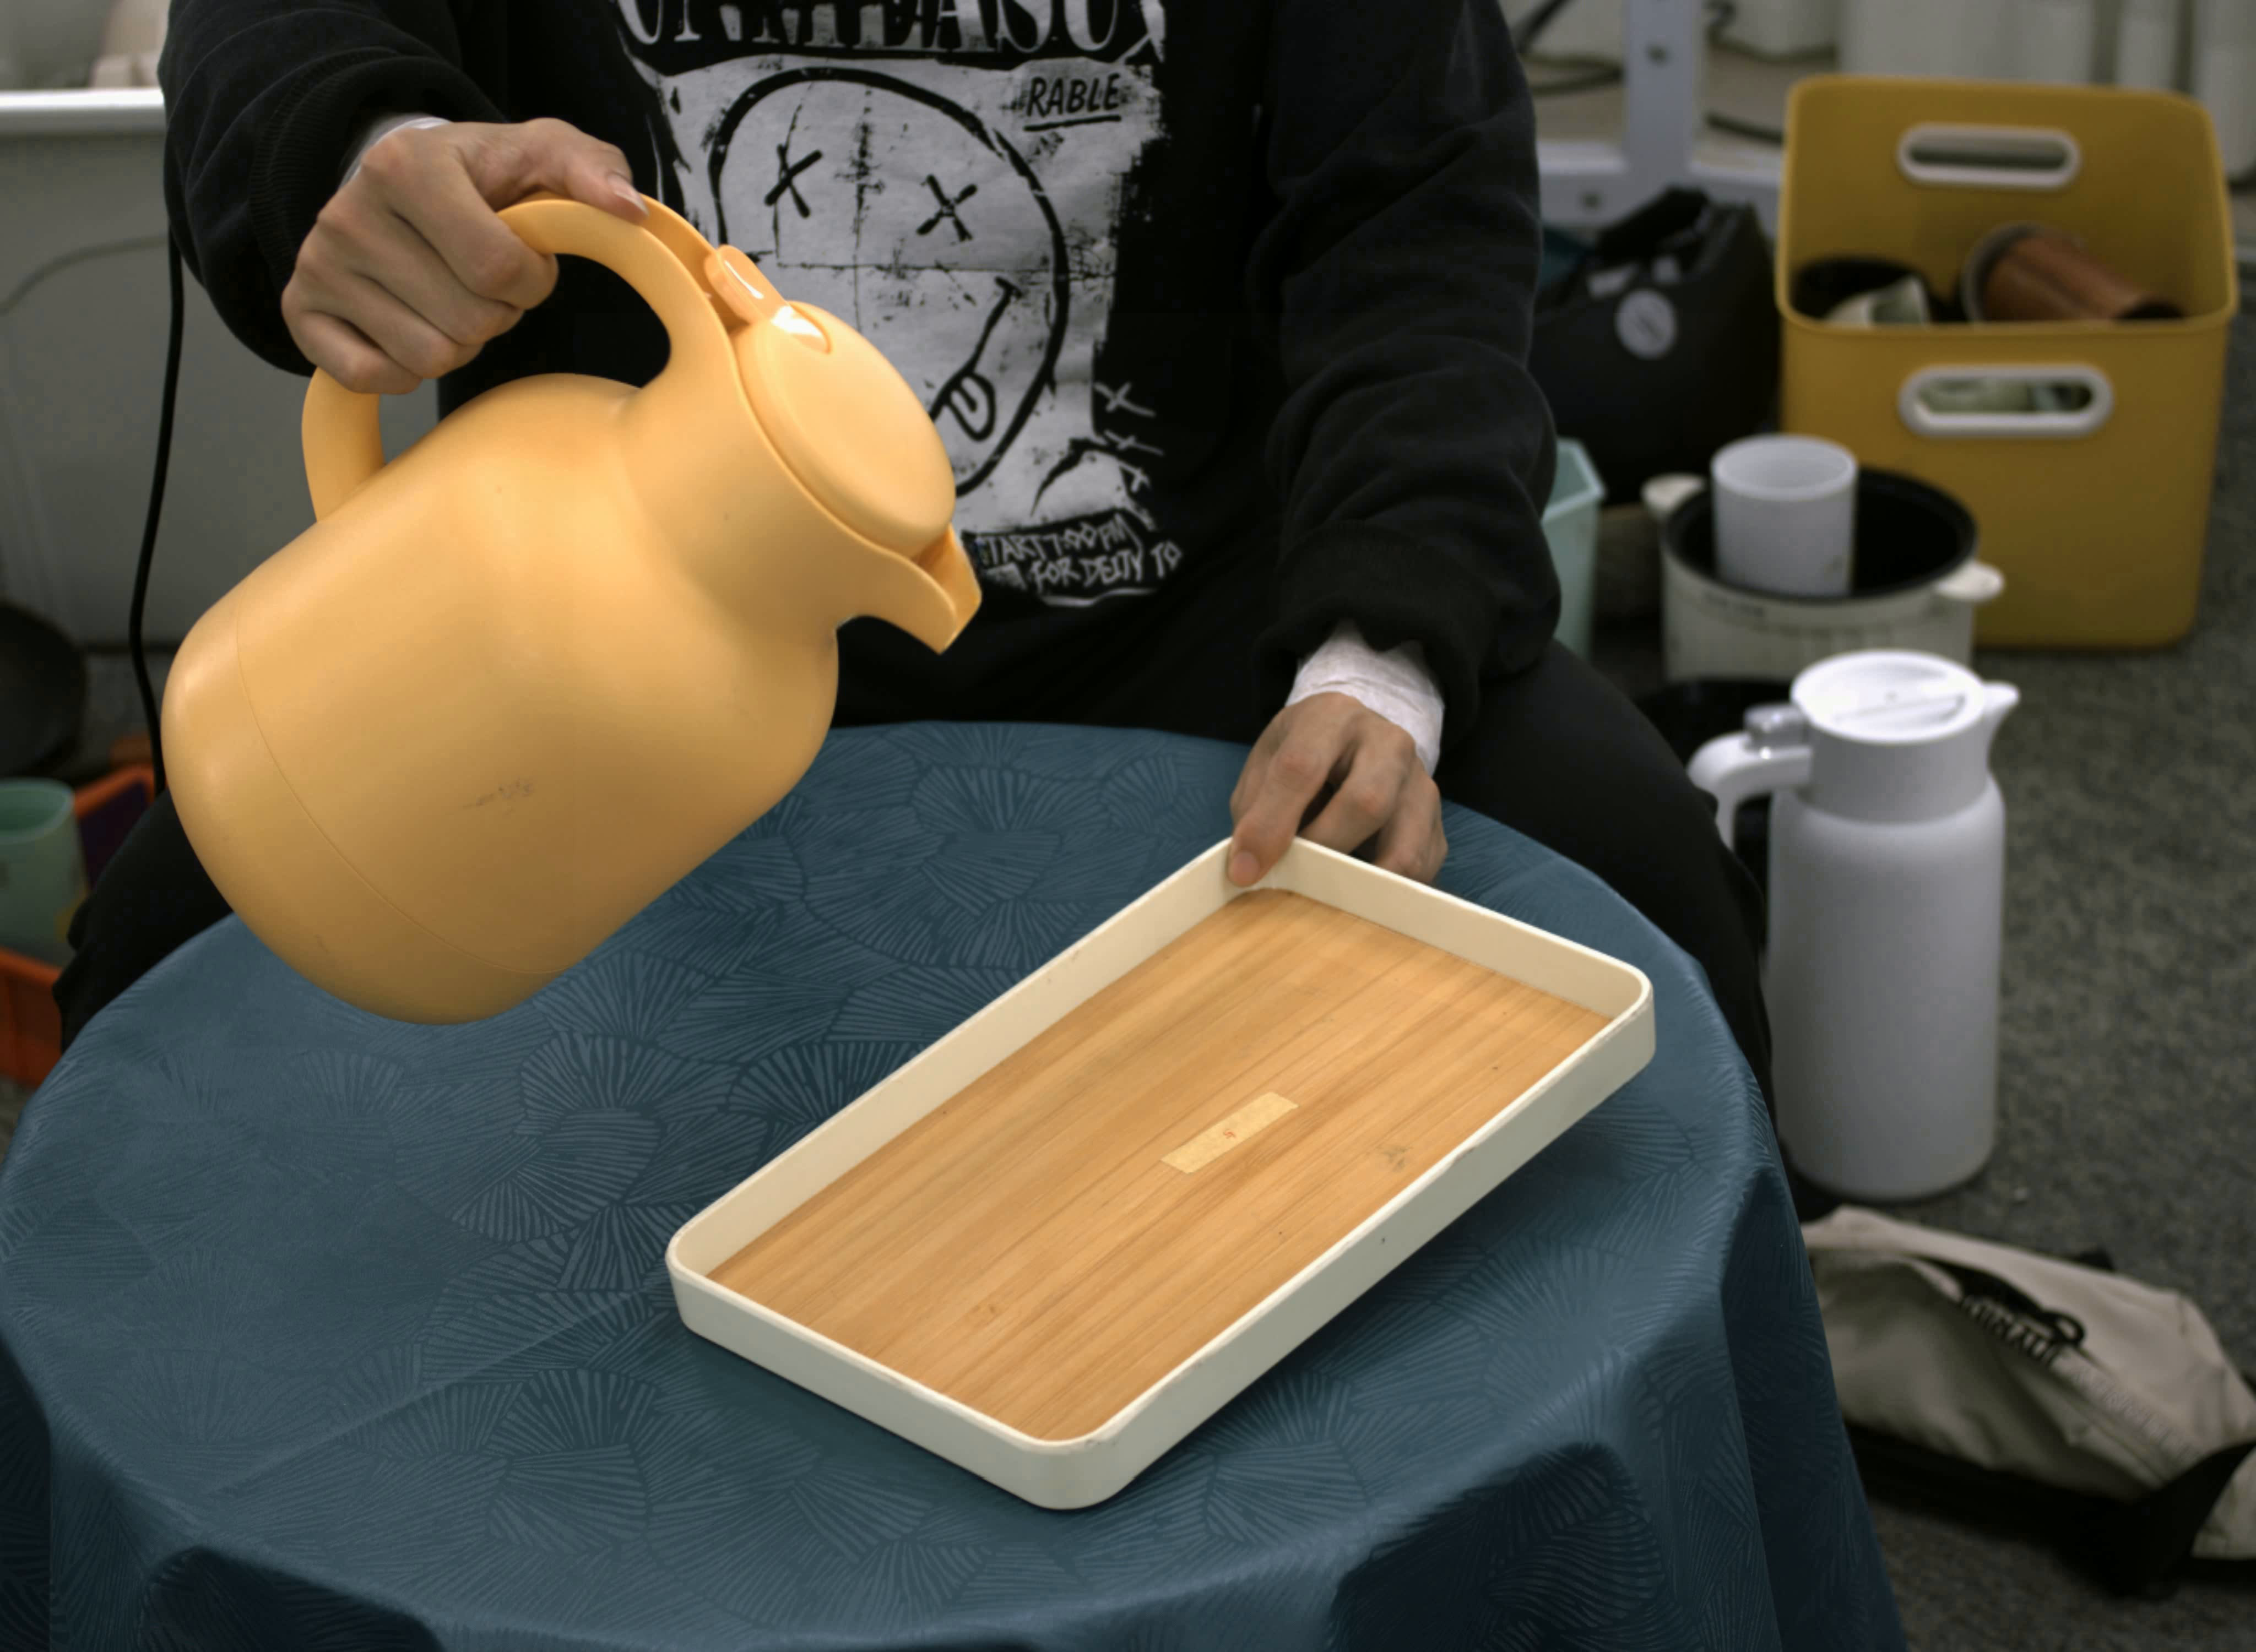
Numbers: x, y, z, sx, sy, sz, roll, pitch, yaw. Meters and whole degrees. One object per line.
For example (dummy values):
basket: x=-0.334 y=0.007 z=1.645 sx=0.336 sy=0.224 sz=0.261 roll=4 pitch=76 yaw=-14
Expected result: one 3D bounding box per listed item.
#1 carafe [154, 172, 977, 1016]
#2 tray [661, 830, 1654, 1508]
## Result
carafe: x=-0.185 y=-0.079 z=1.780 sx=0.257 sy=0.202 sz=0.165 roll=-35 pitch=2 yaw=21
tray: x=0.013 y=0.105 z=1.828 sx=0.191 sy=0.027 sz=0.304 roll=21 pitch=41 yaw=37
